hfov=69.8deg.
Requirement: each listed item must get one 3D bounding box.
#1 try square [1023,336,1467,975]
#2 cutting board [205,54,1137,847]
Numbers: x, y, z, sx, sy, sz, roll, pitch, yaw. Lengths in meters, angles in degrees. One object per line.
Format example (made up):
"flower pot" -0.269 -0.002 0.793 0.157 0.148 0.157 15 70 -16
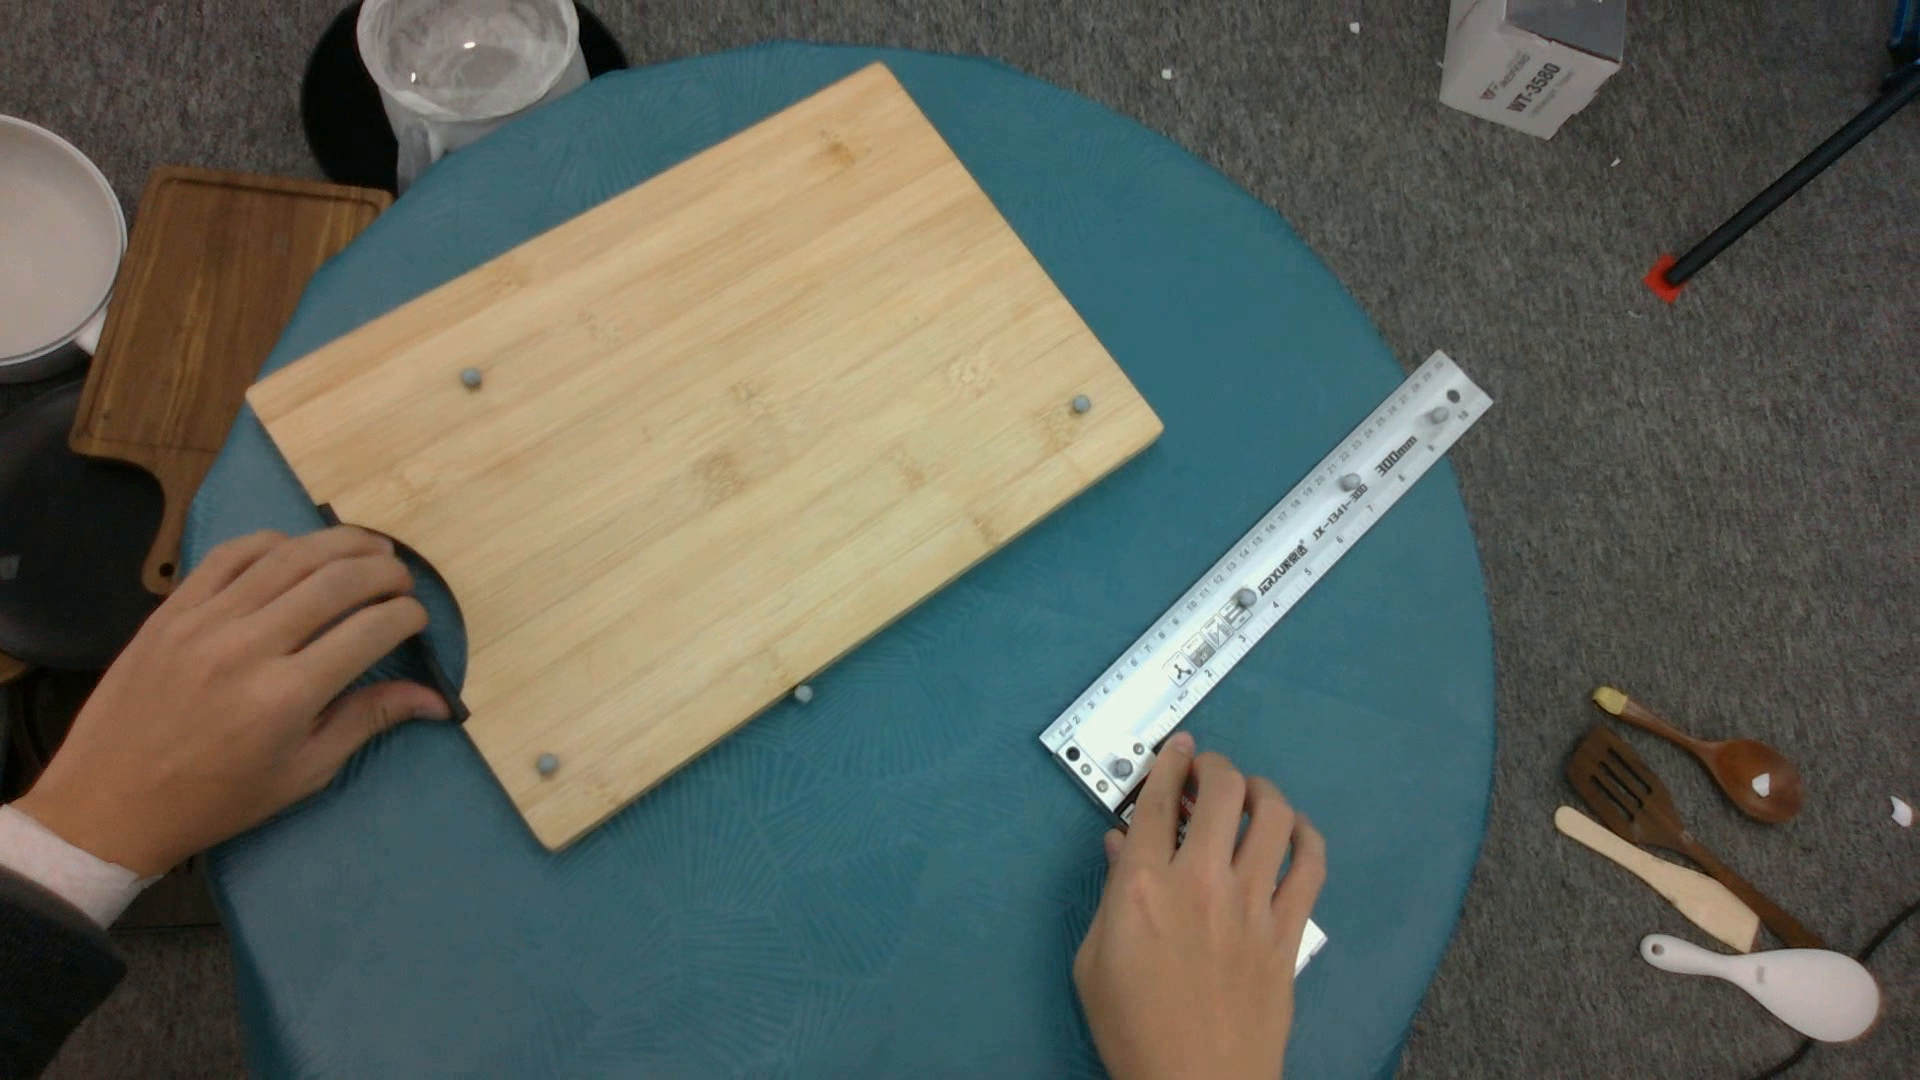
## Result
"try square" 0.185 0.043 0.671 0.314 0.016 0.152 -41 87 -22
"cutting board" -0.117 -0.060 0.636 0.350 0.023 0.251 -35 82 -20
